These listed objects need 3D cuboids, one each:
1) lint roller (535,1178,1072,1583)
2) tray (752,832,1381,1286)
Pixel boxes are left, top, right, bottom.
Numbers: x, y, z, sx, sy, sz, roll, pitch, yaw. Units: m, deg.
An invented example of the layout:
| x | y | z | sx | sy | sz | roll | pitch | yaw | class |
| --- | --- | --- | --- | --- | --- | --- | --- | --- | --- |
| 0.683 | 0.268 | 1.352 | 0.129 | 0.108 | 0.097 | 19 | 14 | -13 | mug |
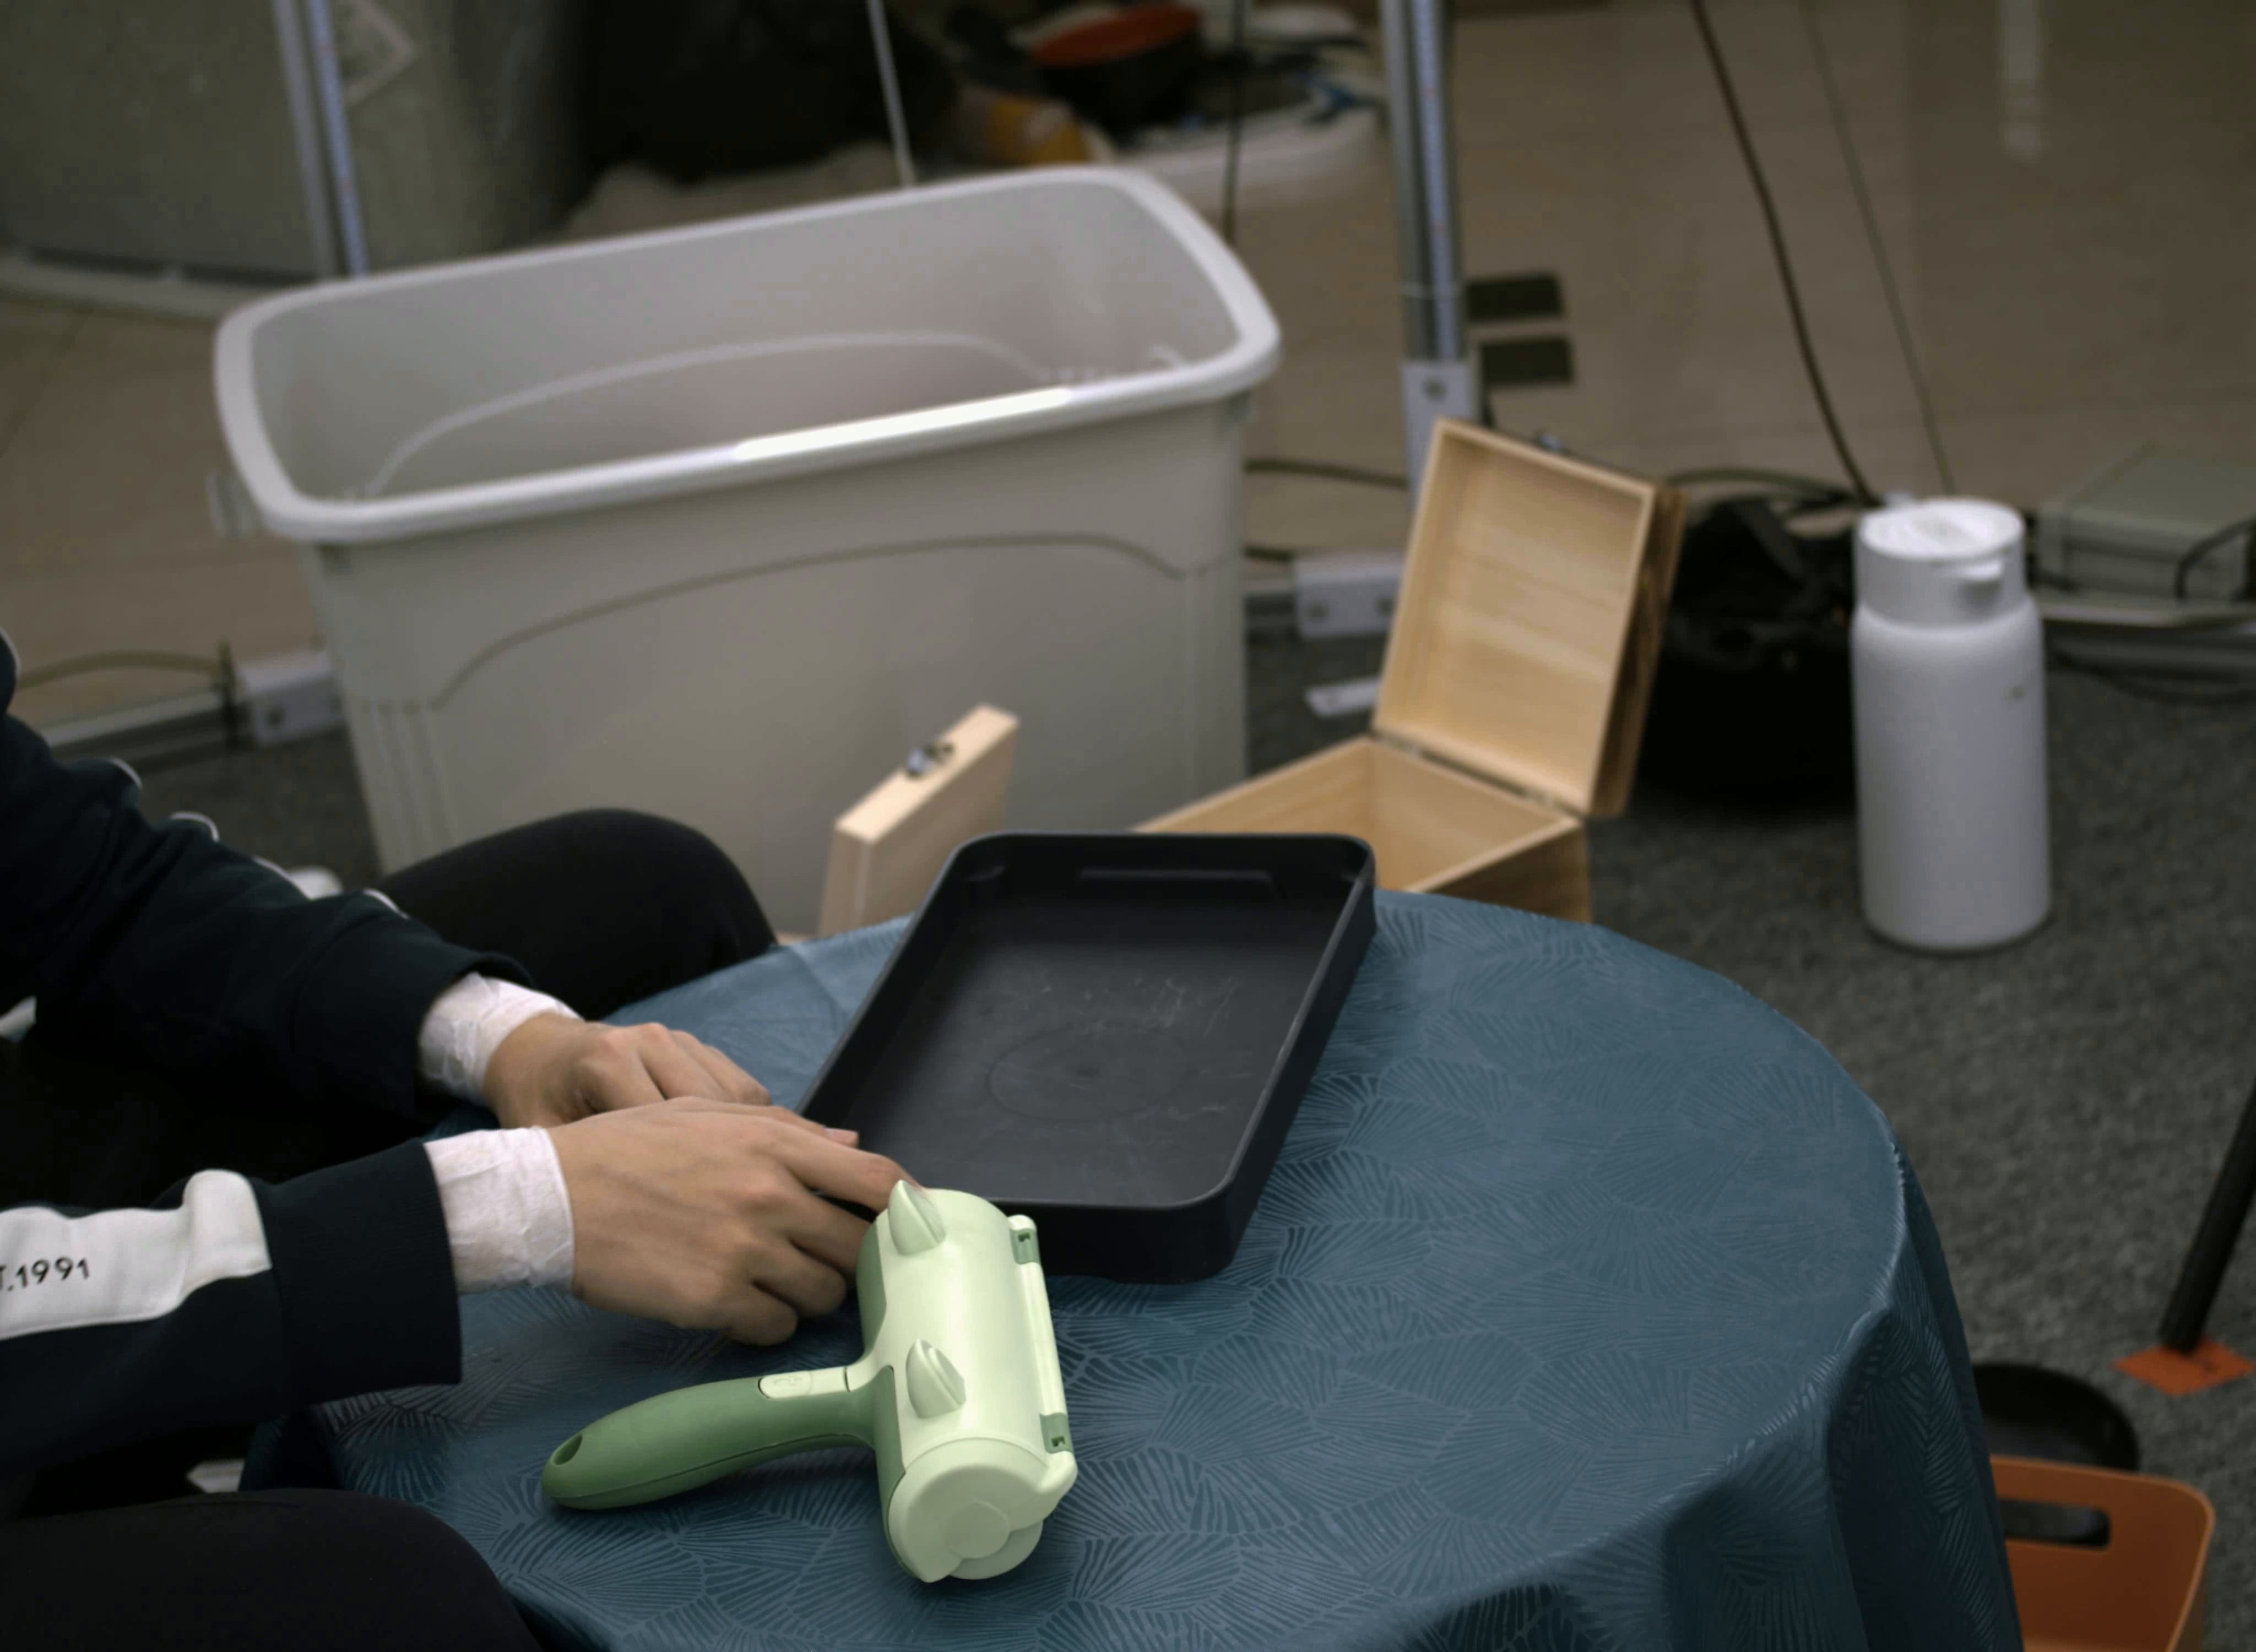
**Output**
| x | y | z | sx | sy | sz | roll | pitch | yaw | class |
| --- | --- | --- | --- | --- | --- | --- | --- | --- | --- |
| -0.117 | 0.190 | 1.968 | 0.183 | 0.083 | 0.195 | -5 | 25 | -4 | lint roller |
| -0.017 | 0.086 | 2.219 | 0.184 | 0.037 | 0.313 | 1 | 26 | 15 | tray |
